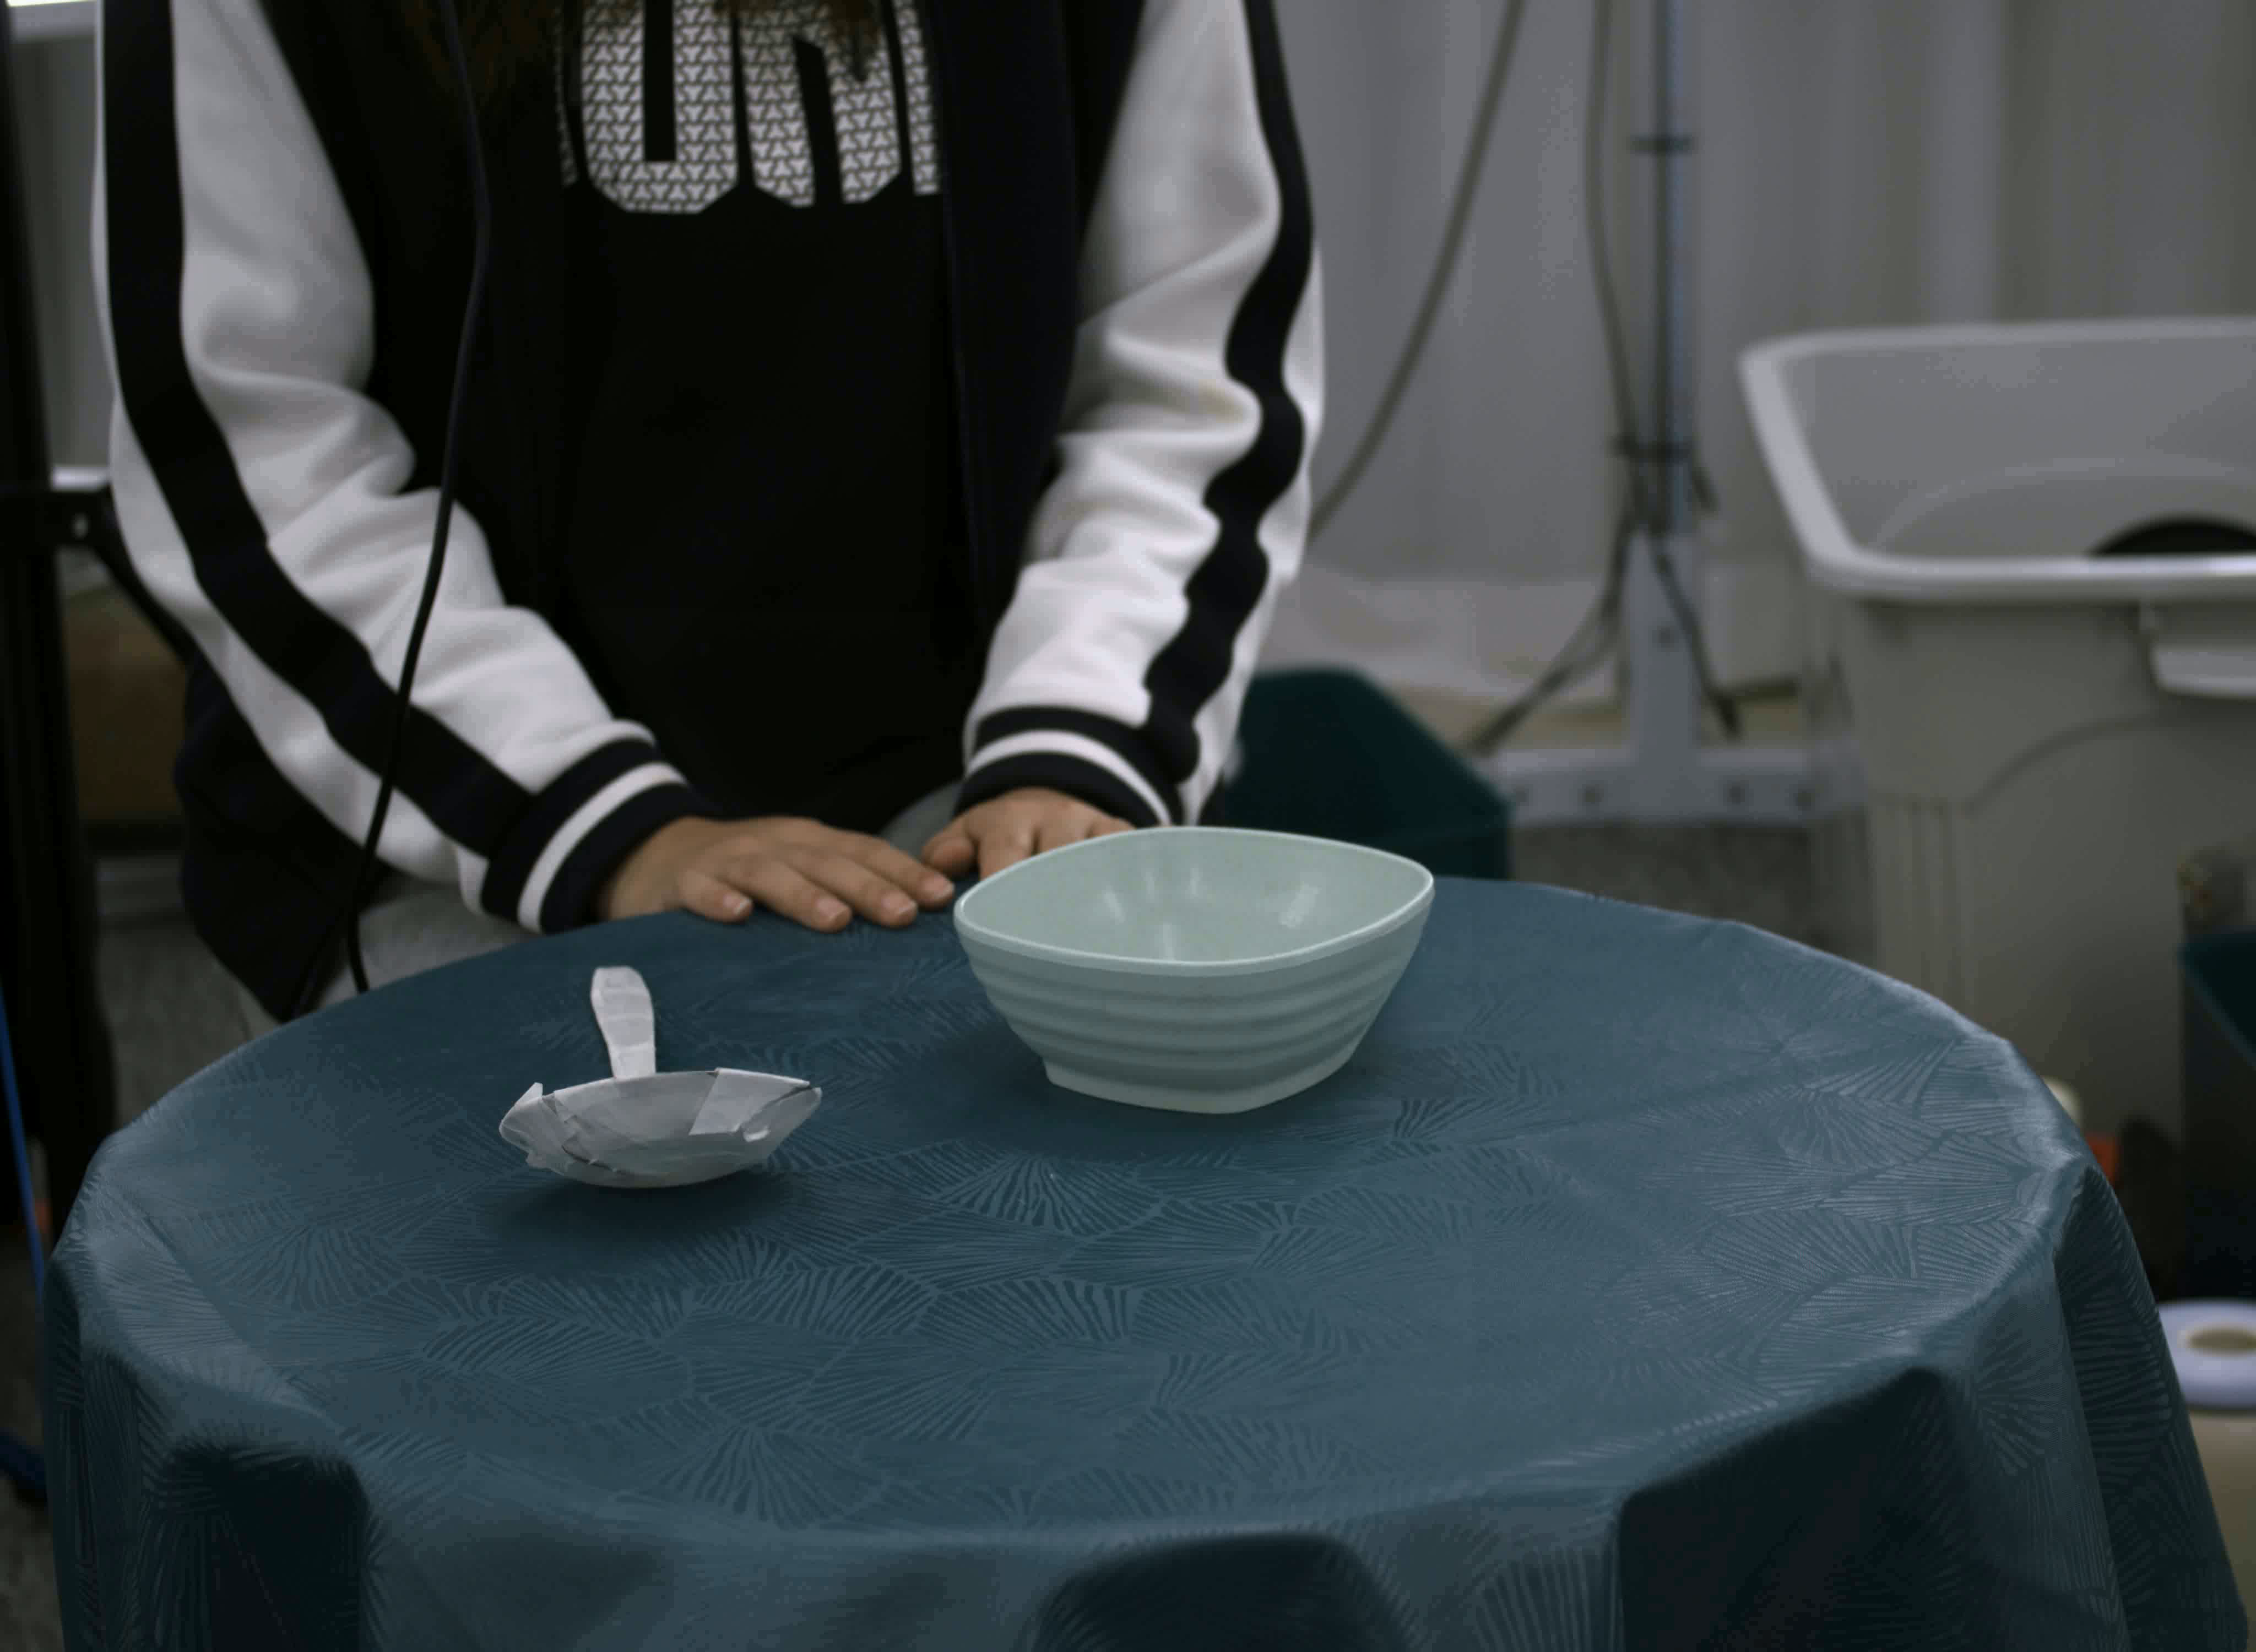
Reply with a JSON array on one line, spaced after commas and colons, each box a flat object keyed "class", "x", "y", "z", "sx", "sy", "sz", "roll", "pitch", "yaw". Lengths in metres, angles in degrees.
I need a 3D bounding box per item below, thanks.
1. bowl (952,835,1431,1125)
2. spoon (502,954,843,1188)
[{"class": "bowl", "x": 0.021, "y": 0.051, "z": 1.661, "sx": 0.150, "sy": 0.058, "sz": 0.152, "roll": -3, "pitch": 15, "yaw": -1}, {"class": "spoon", "x": -0.142, "y": 0.058, "z": 1.654, "sx": 0.100, "sy": 0.059, "sz": 0.279, "roll": 1, "pitch": 15, "yaw": -6}]
